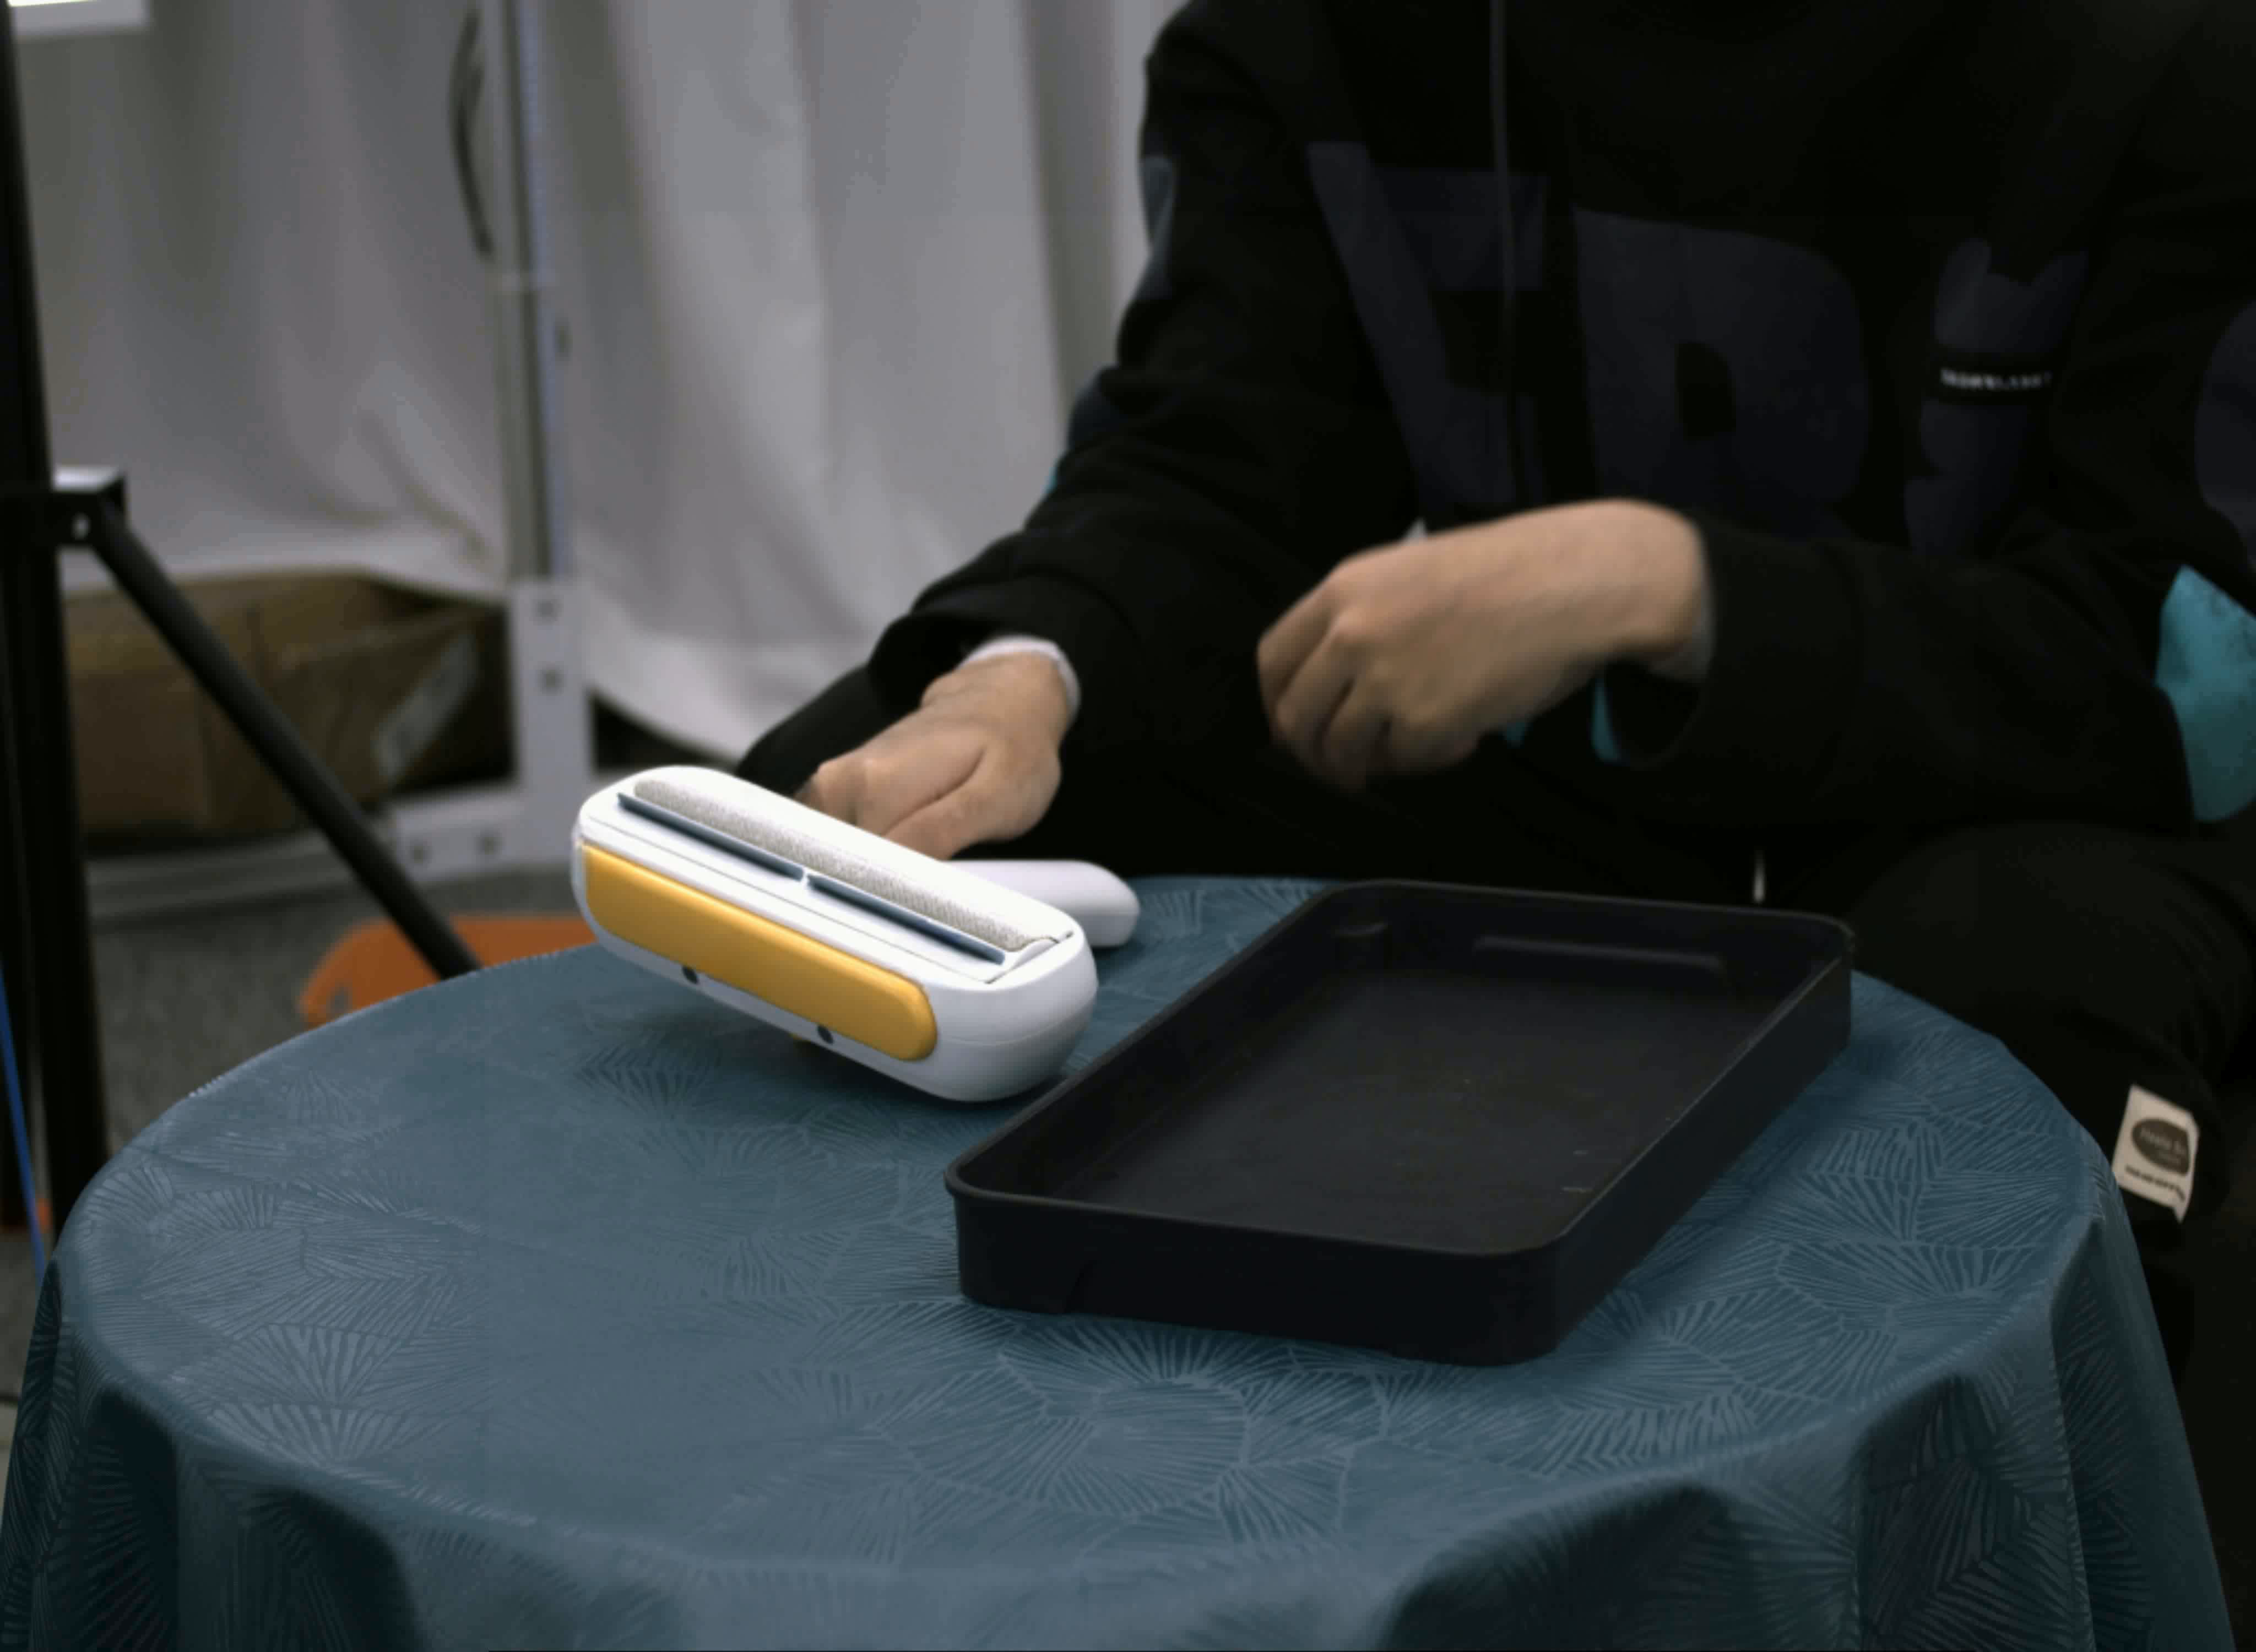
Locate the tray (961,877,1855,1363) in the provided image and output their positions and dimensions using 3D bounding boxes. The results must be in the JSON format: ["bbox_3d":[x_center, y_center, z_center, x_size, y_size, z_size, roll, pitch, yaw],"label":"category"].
[{"bbox_3d":[0.092,0.080,1.574,0.187,0.037,0.313,4,17,23],"label":"tray"}]

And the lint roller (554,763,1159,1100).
[{"bbox_3d":[-0.062,0.026,1.733,0.197,0.074,0.188,18,24,40],"label":"lint roller"}]
